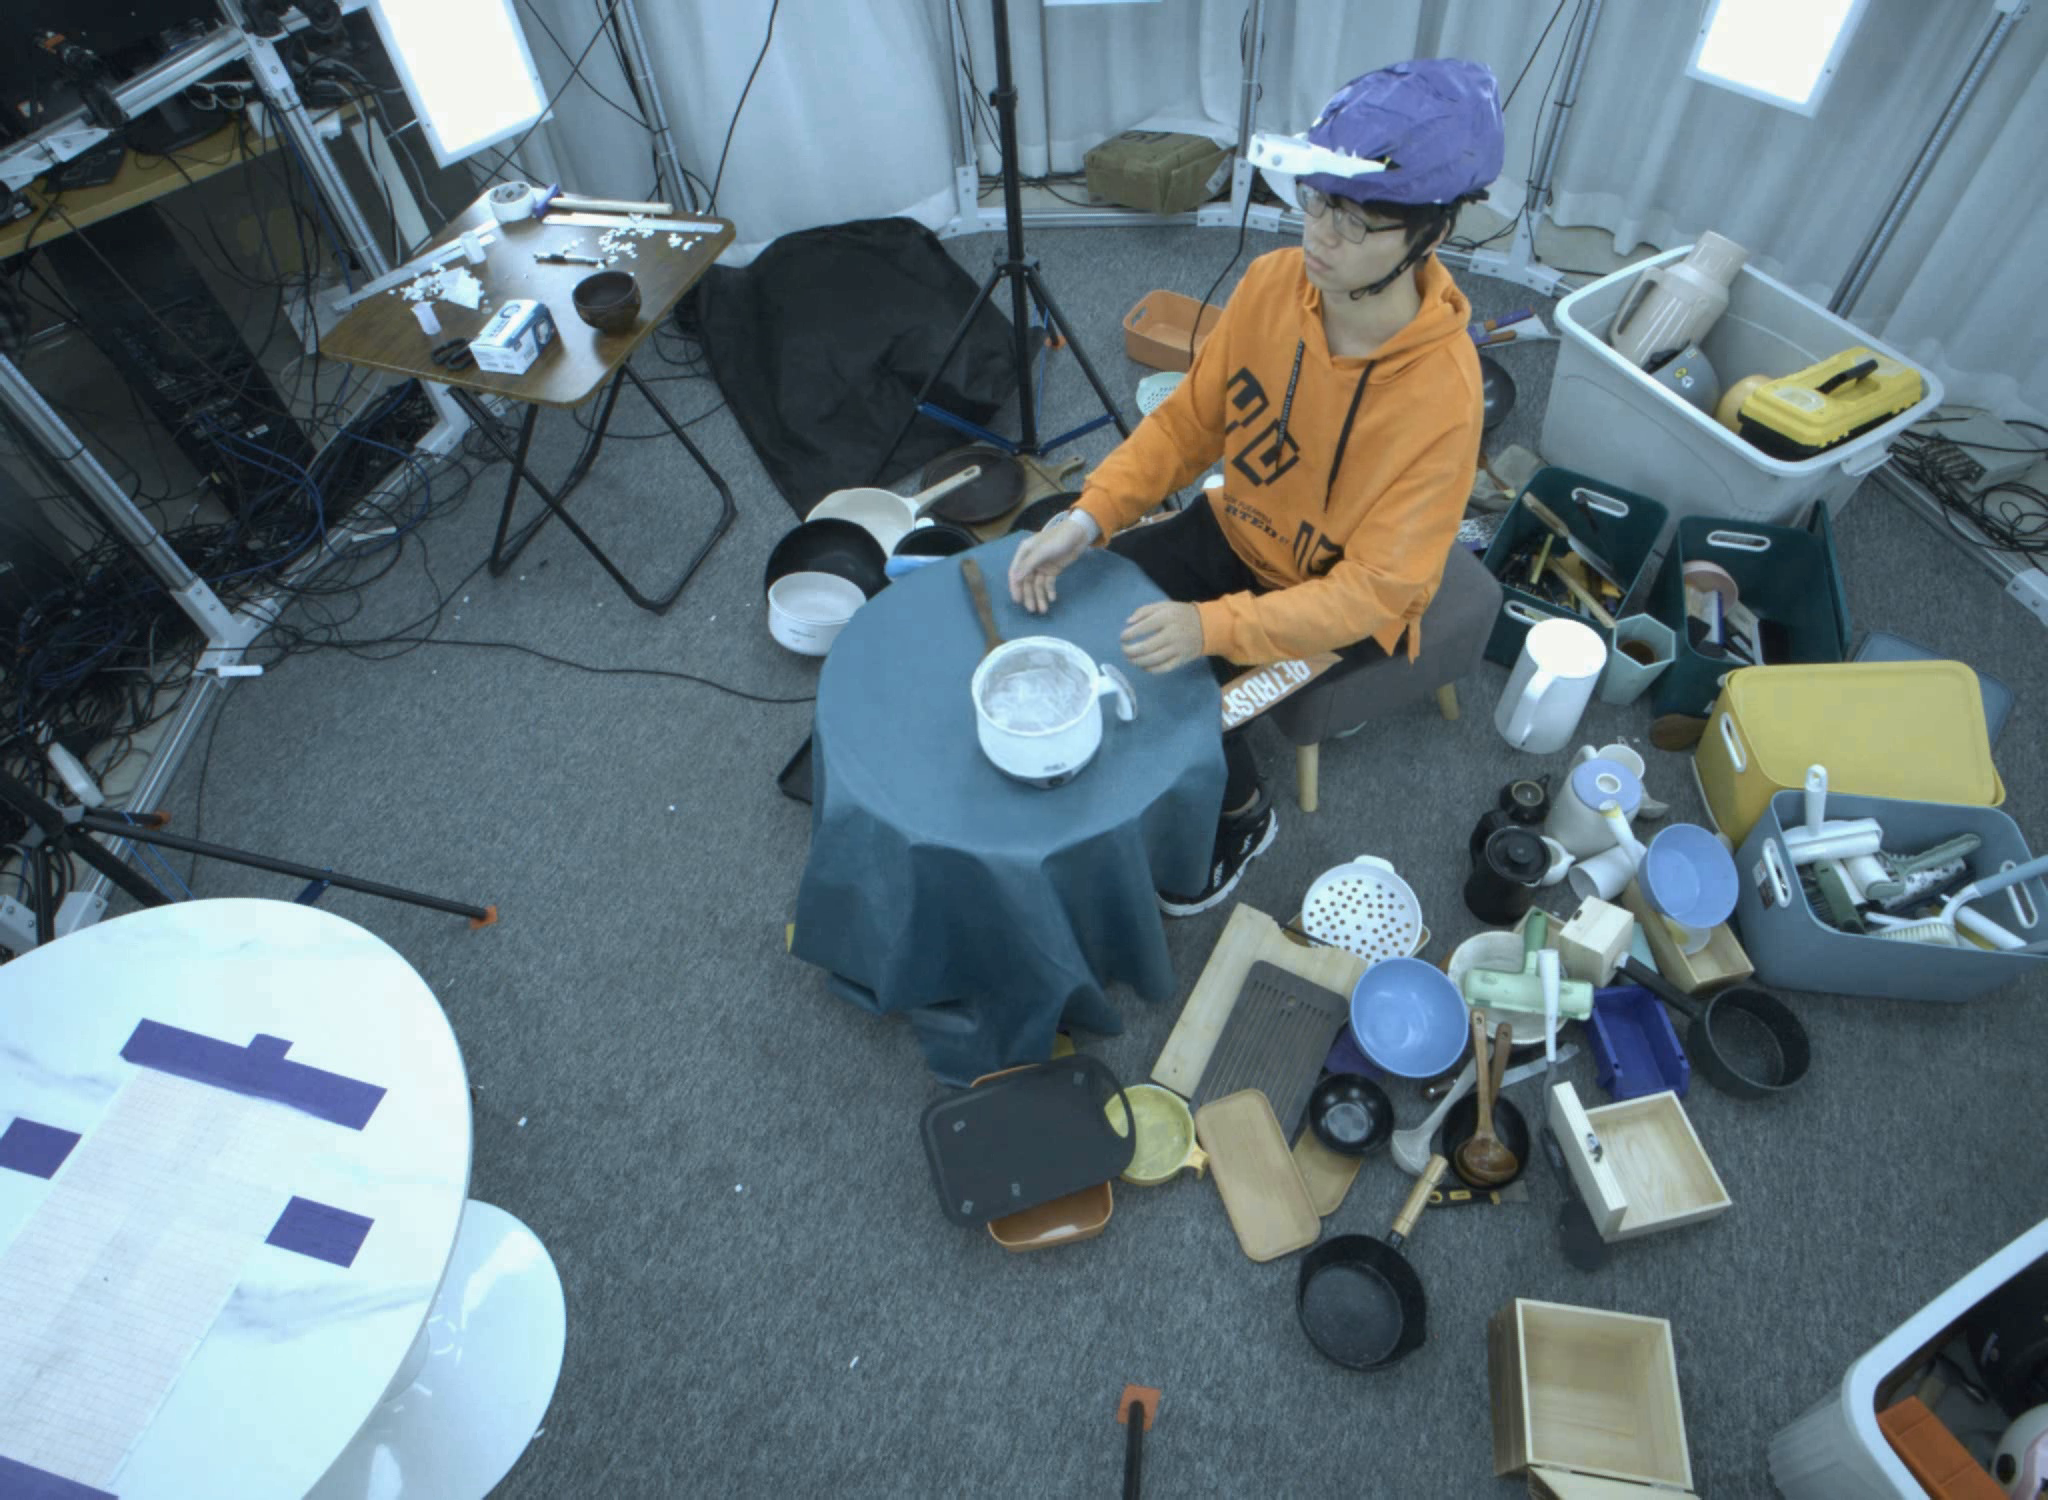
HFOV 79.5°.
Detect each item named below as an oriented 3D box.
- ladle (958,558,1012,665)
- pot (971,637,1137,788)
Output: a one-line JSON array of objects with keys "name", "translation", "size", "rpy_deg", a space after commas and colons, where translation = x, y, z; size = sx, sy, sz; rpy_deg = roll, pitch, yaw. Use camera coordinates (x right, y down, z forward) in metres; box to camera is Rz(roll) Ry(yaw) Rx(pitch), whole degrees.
[{"name": "ladle", "translation": [-0.060, -0.227, 1.906], "size": [0.077, 0.072, 0.270], "rpy_deg": [-9, 55, -13]}, {"name": "pot", "translation": [0.046, -0.059, 1.743], "size": [0.235, 0.138, 0.176], "rpy_deg": [-15, 56, -7]}]
